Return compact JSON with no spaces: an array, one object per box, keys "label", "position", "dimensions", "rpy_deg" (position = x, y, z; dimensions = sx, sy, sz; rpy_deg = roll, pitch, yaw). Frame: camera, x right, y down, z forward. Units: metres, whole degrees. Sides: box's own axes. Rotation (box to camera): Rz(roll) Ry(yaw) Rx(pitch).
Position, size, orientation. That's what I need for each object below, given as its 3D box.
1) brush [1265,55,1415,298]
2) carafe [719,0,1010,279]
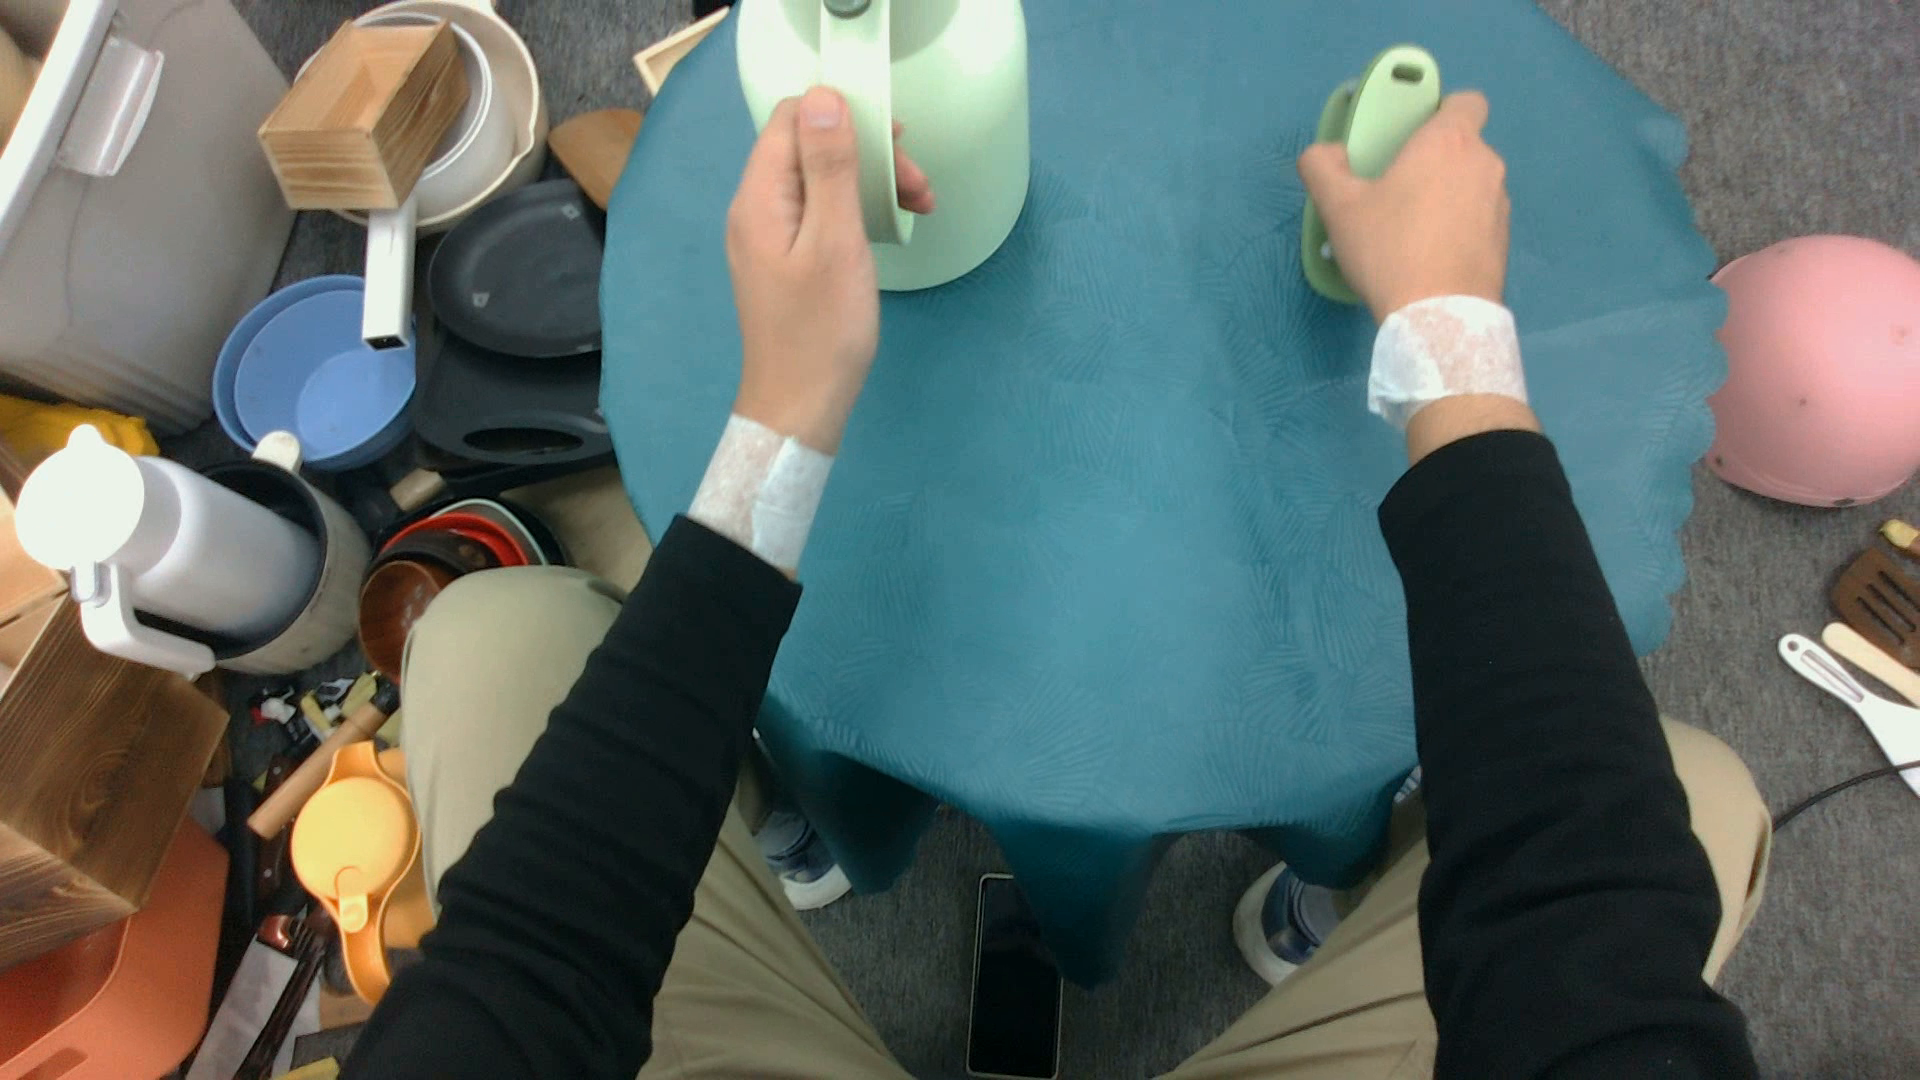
[{"label":"brush","position":[0.201,-0.191,0.736],"dimensions":[0.059,0.076,0.123],"rpy_deg":[14,99,-1]},{"label":"carafe","position":[-0.047,-0.228,0.673],"dimensions":[0.144,0.256,0.187],"rpy_deg":[-1,78,2]}]
